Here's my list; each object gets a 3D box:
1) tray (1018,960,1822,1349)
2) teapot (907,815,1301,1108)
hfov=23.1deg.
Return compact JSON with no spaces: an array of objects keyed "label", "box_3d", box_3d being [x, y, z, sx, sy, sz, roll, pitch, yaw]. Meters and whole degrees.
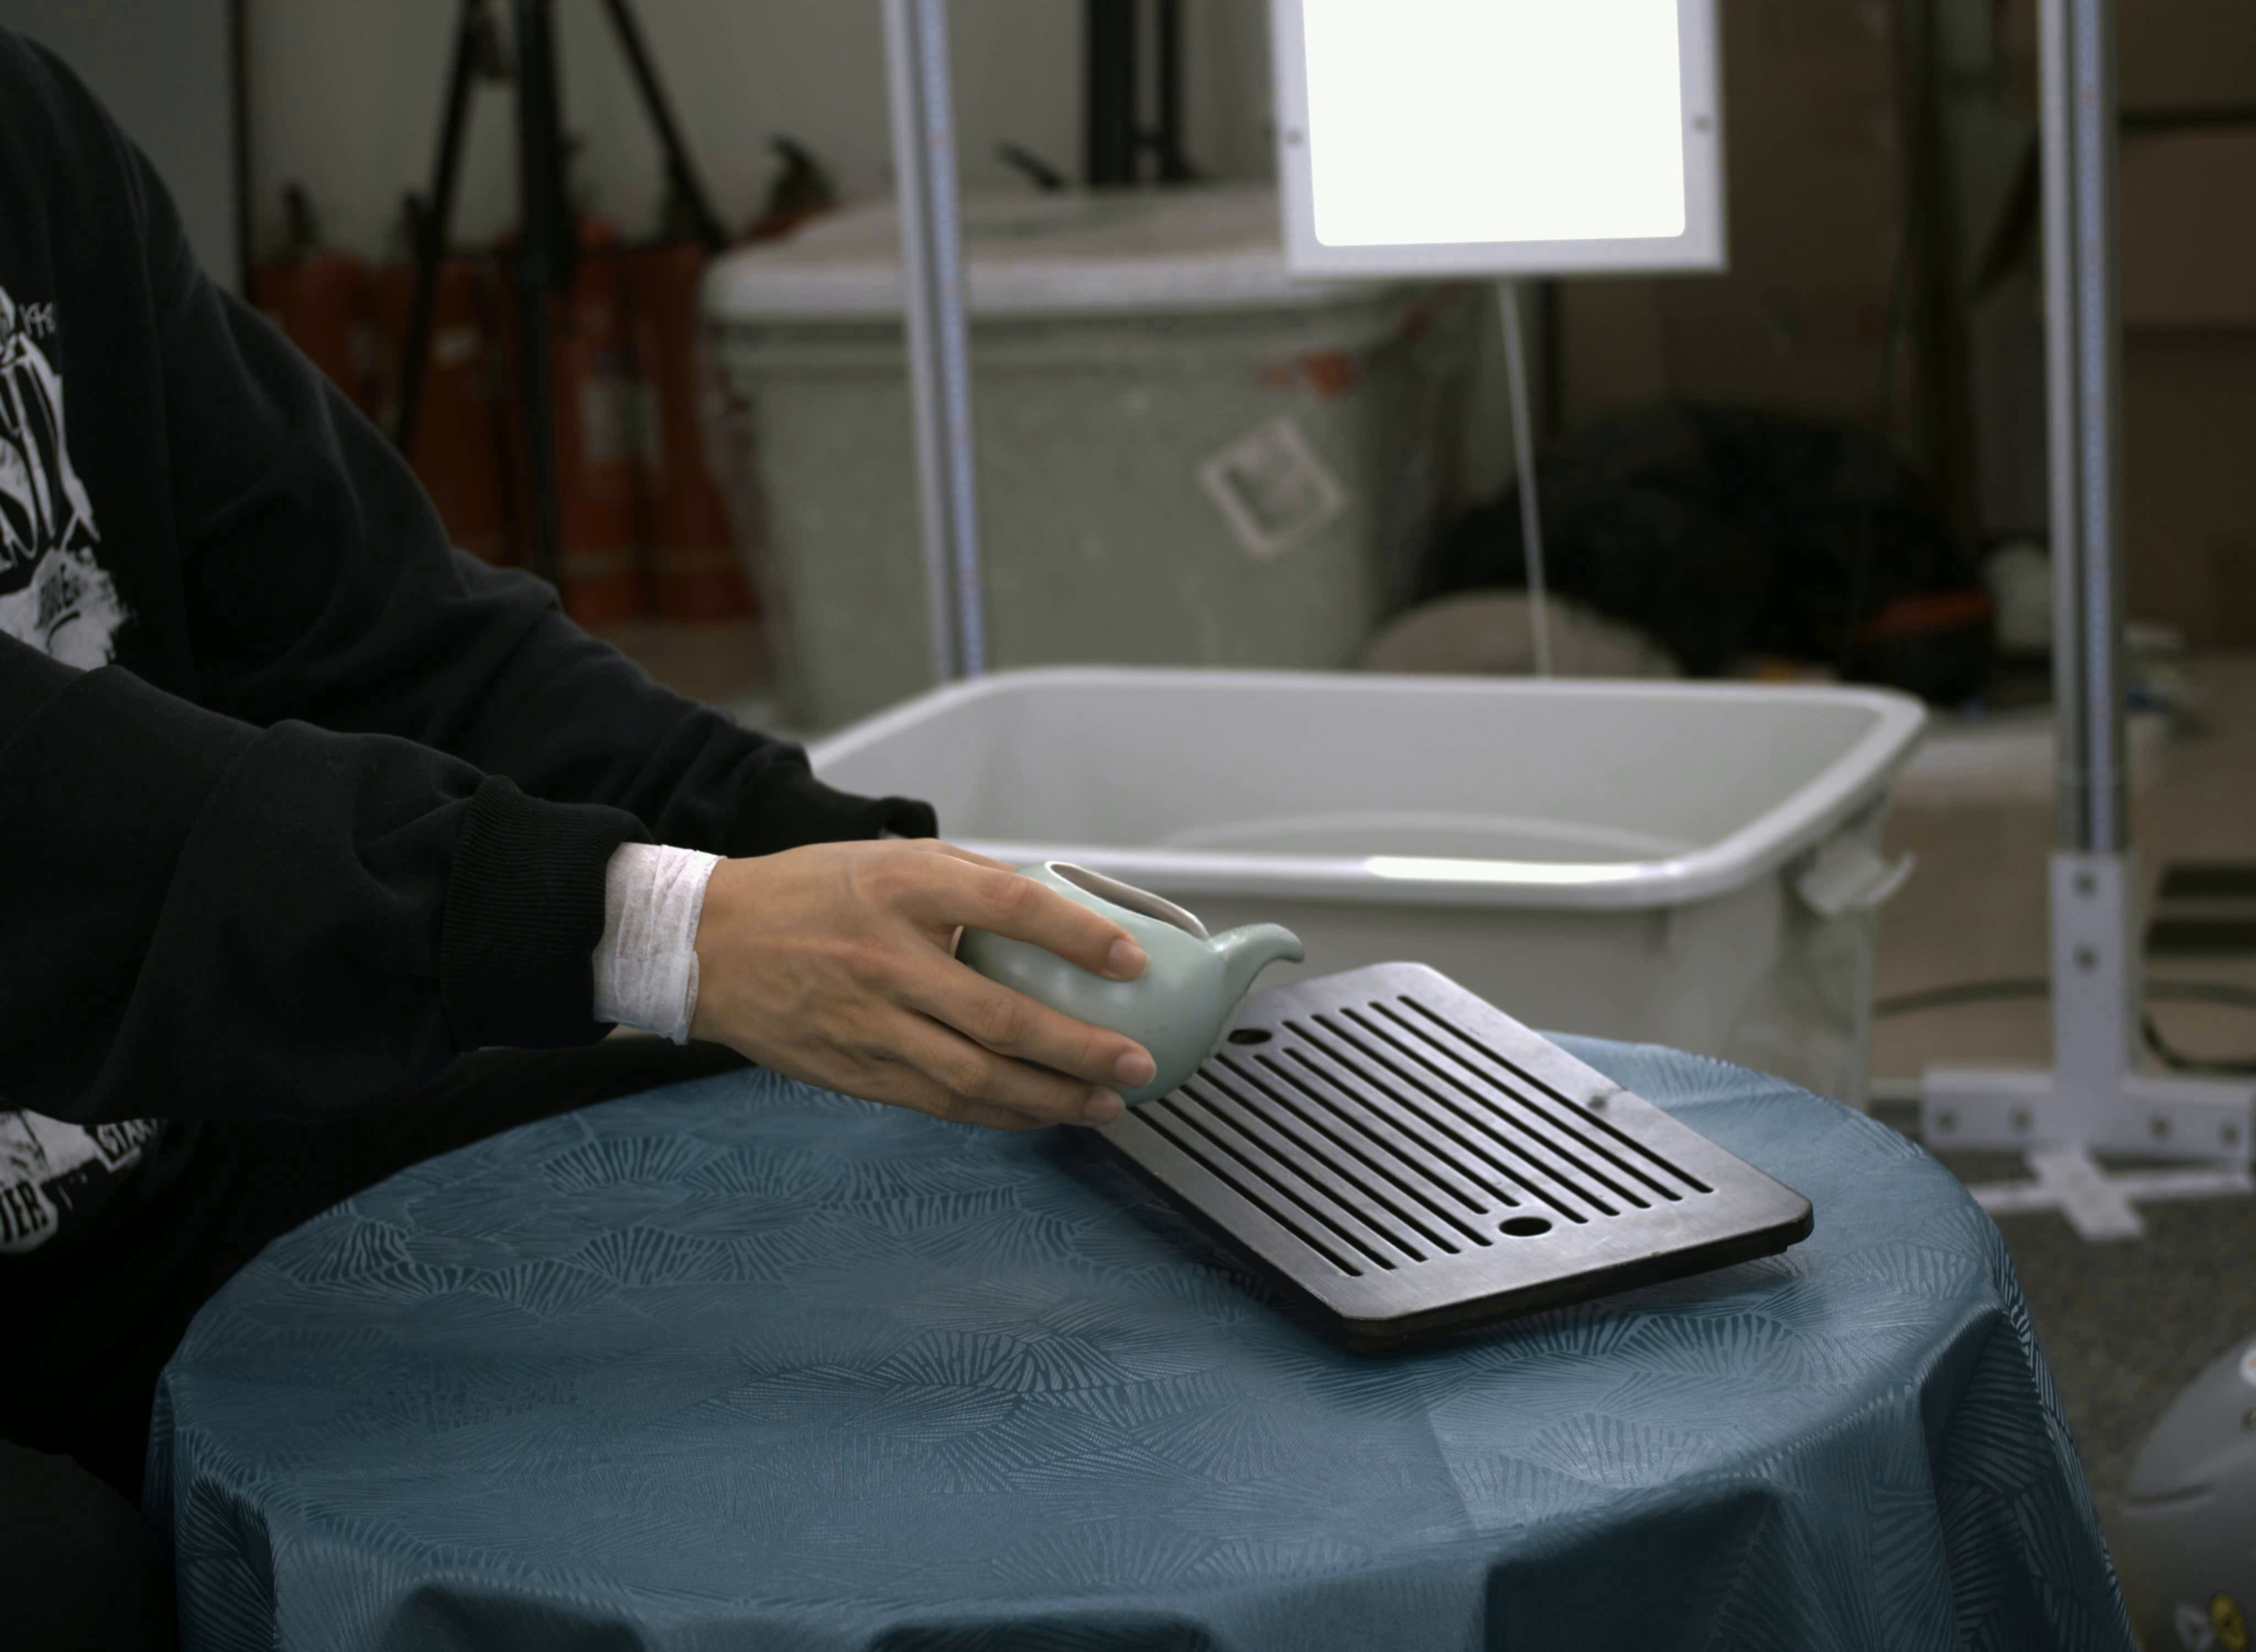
[{"label":"tray","box_3d":[0.091,0.108,1.863,0.167,0.019,0.310,-12,18,-20]},{"label":"teapot","box_3d":[-0.013,0.048,1.747,0.141,0.075,0.089,20,7,-30]}]
